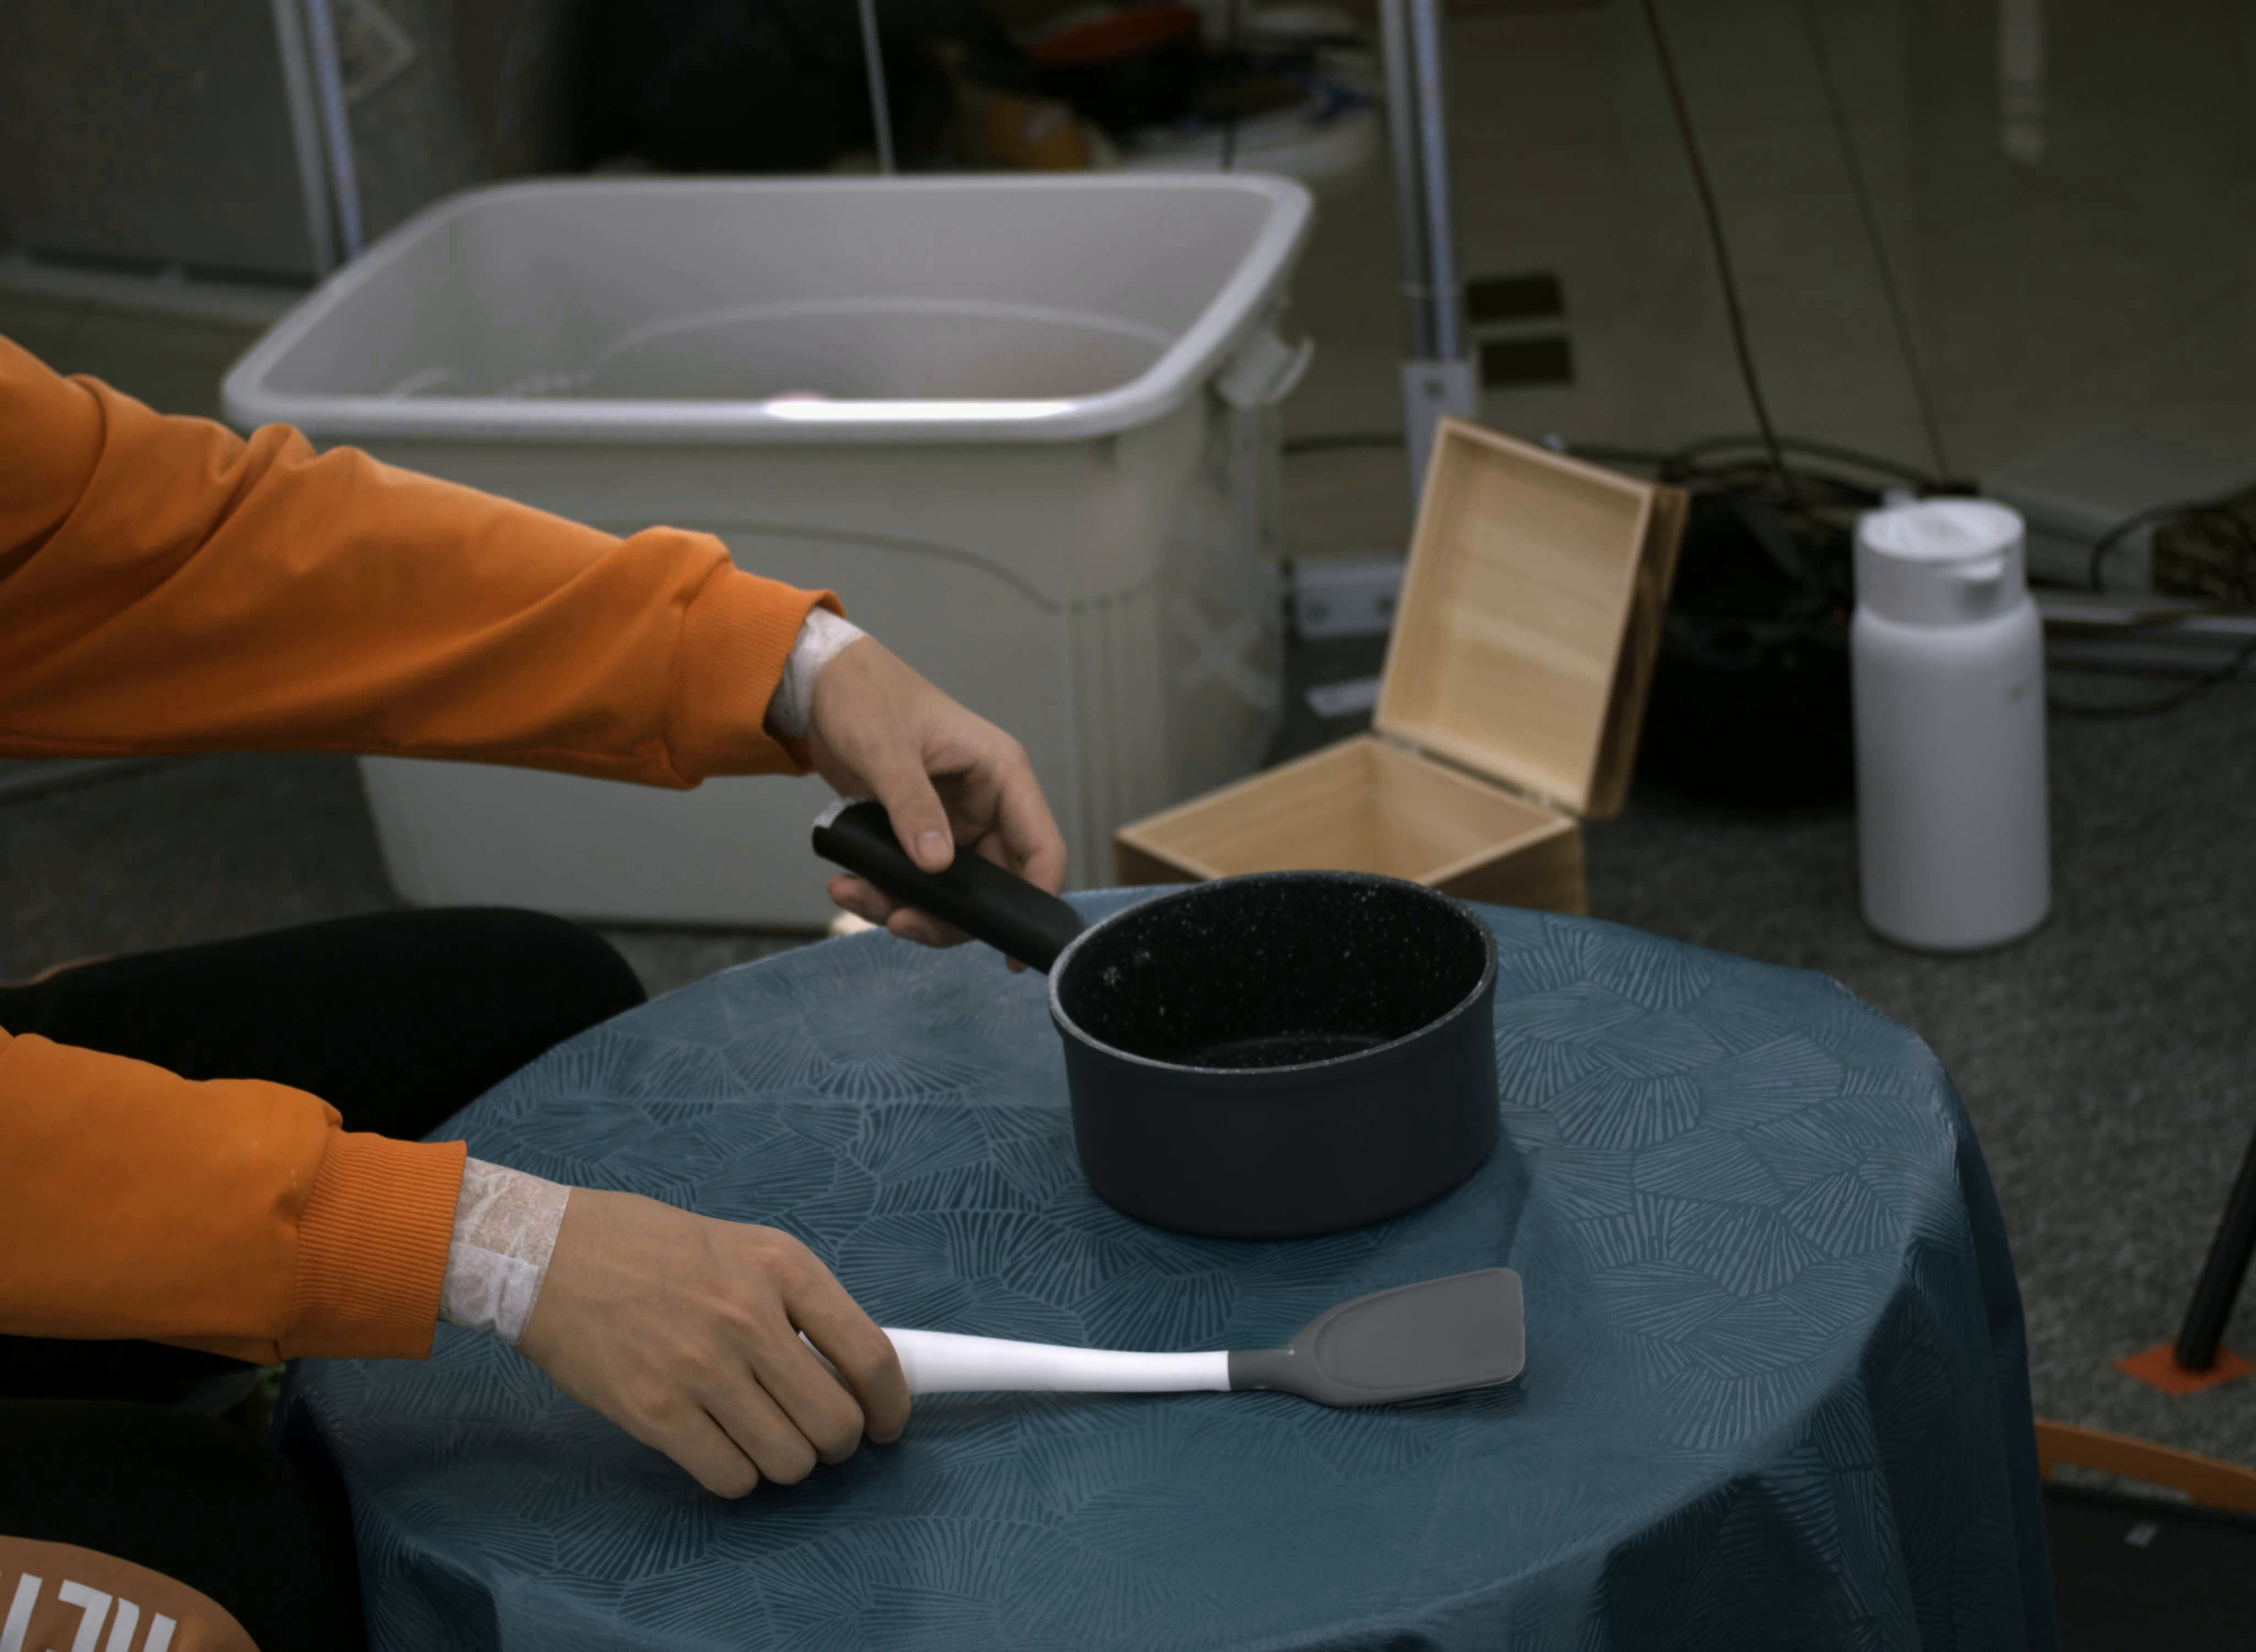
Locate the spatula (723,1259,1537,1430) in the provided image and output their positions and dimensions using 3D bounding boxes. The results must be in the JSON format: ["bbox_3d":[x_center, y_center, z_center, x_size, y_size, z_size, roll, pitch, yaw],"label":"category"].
[{"bbox_3d":[0.001,0.188,2.002,0.287,0.033,0.057,-4,44,4],"label":"spatula"}]

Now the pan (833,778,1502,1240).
[{"bbox_3d":[0.003,0.064,2.204,0.170,0.088,0.326,-26,33,-37],"label":"pan"}]
